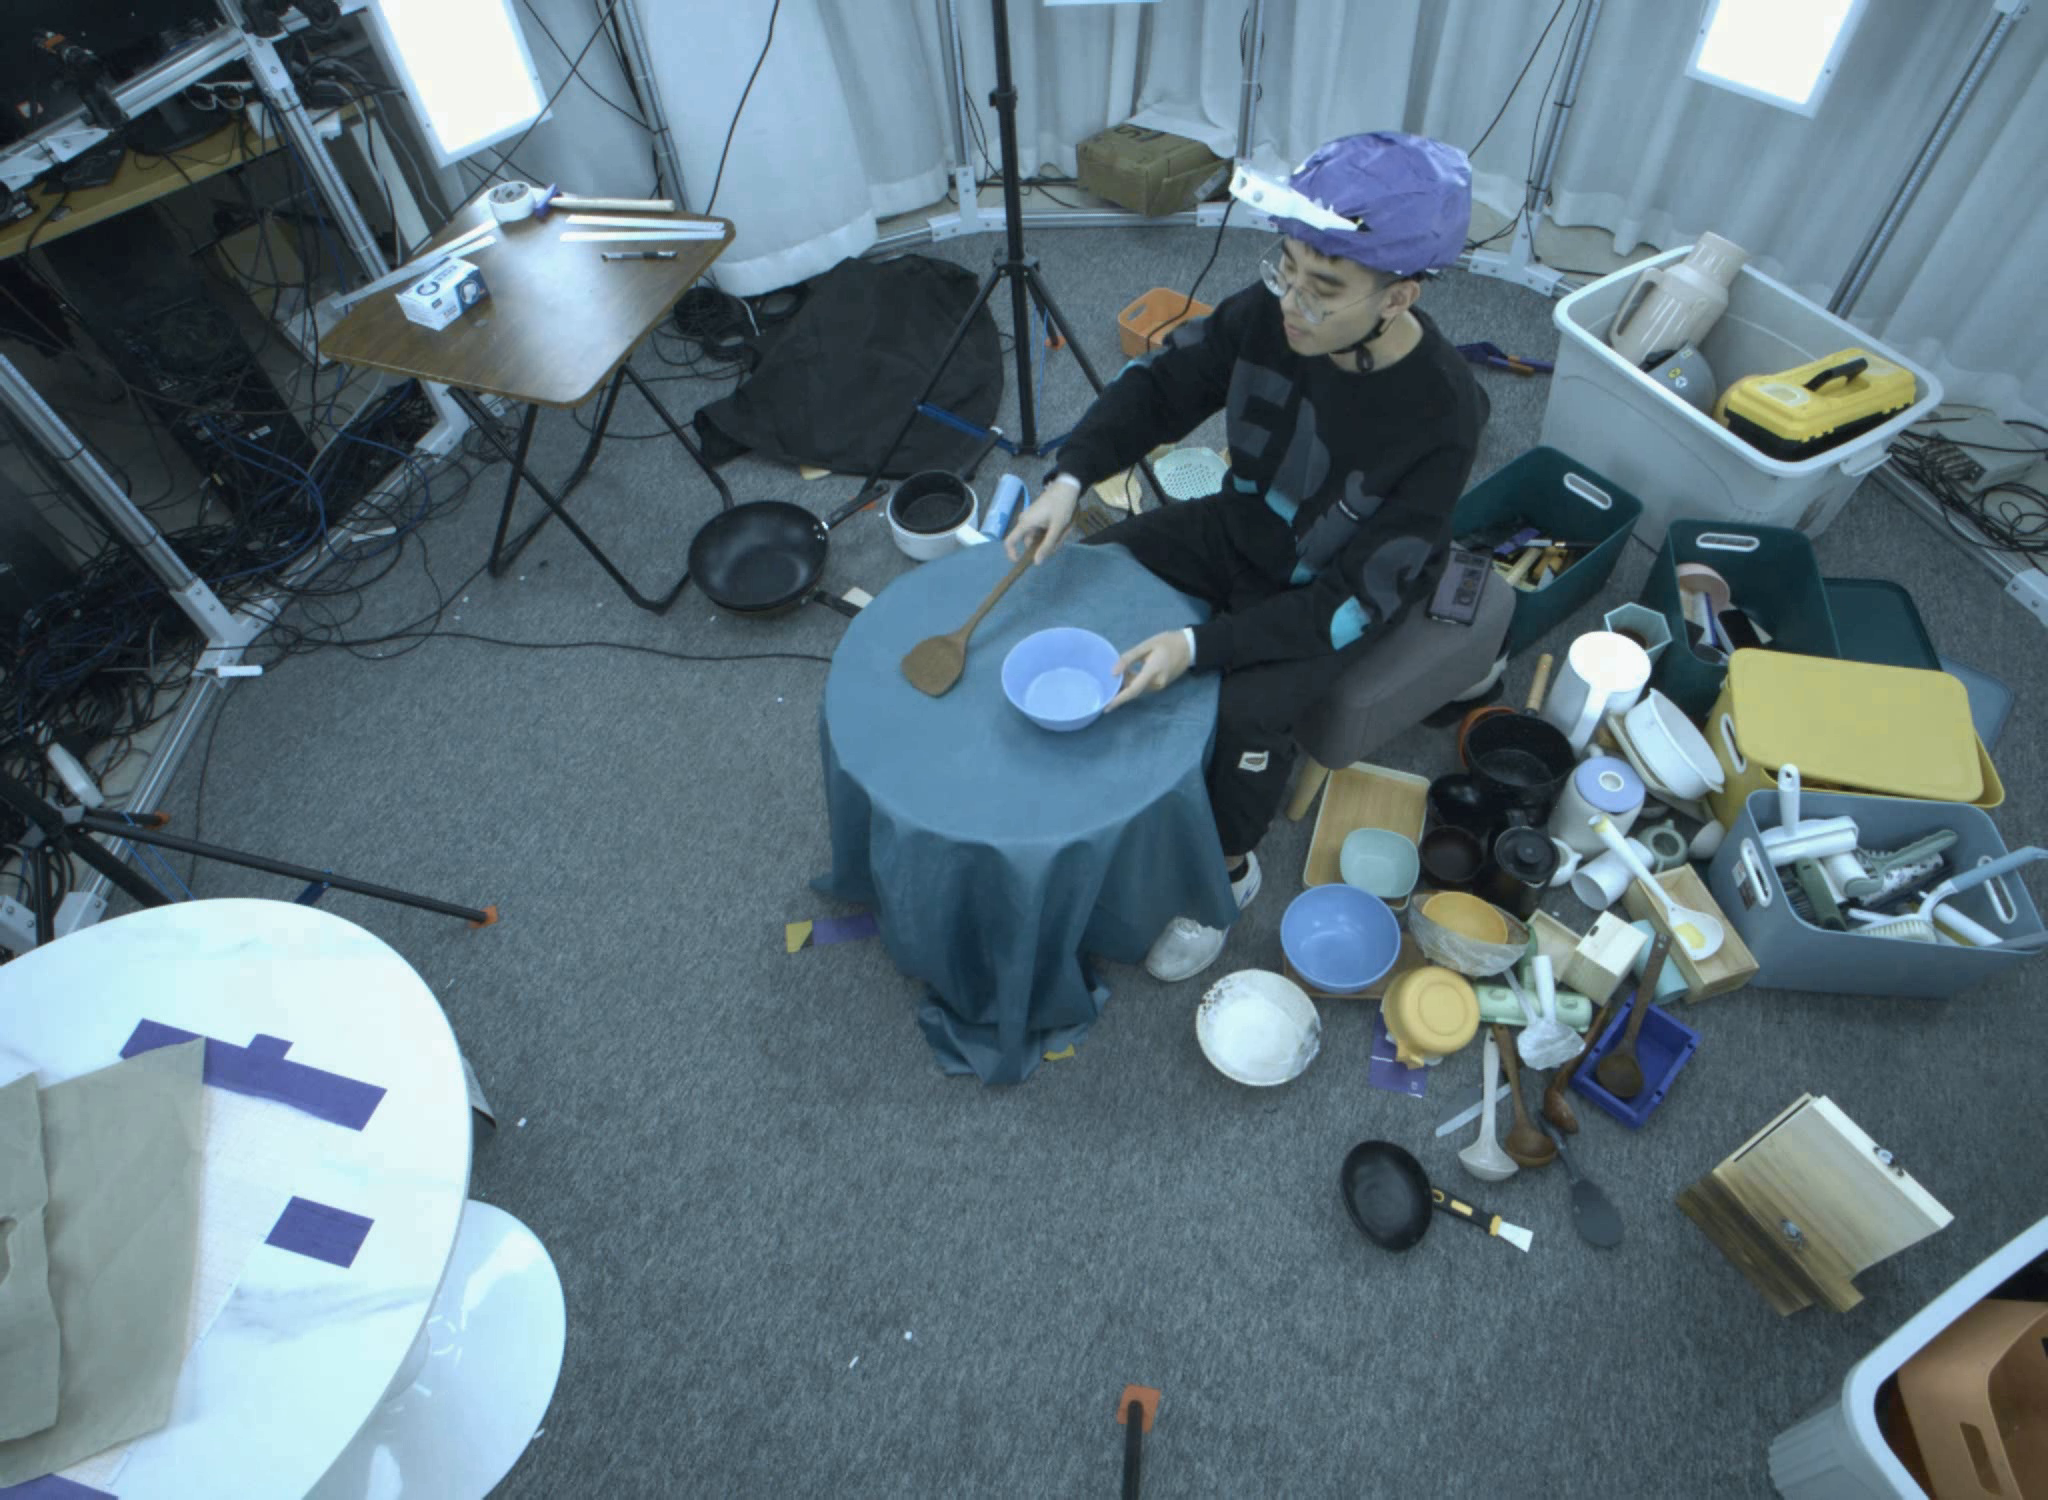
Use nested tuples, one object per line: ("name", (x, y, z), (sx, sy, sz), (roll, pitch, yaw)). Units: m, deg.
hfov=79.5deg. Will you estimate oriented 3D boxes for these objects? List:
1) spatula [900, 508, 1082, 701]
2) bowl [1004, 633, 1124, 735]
("spatula", (-0.040, -0.234, 1.891), (0.094, 0.016, 0.386), (38, 83, 21))
("bowl", (0.060, -0.088, 1.814), (0.176, 0.071, 0.174), (0, 54, 2))
